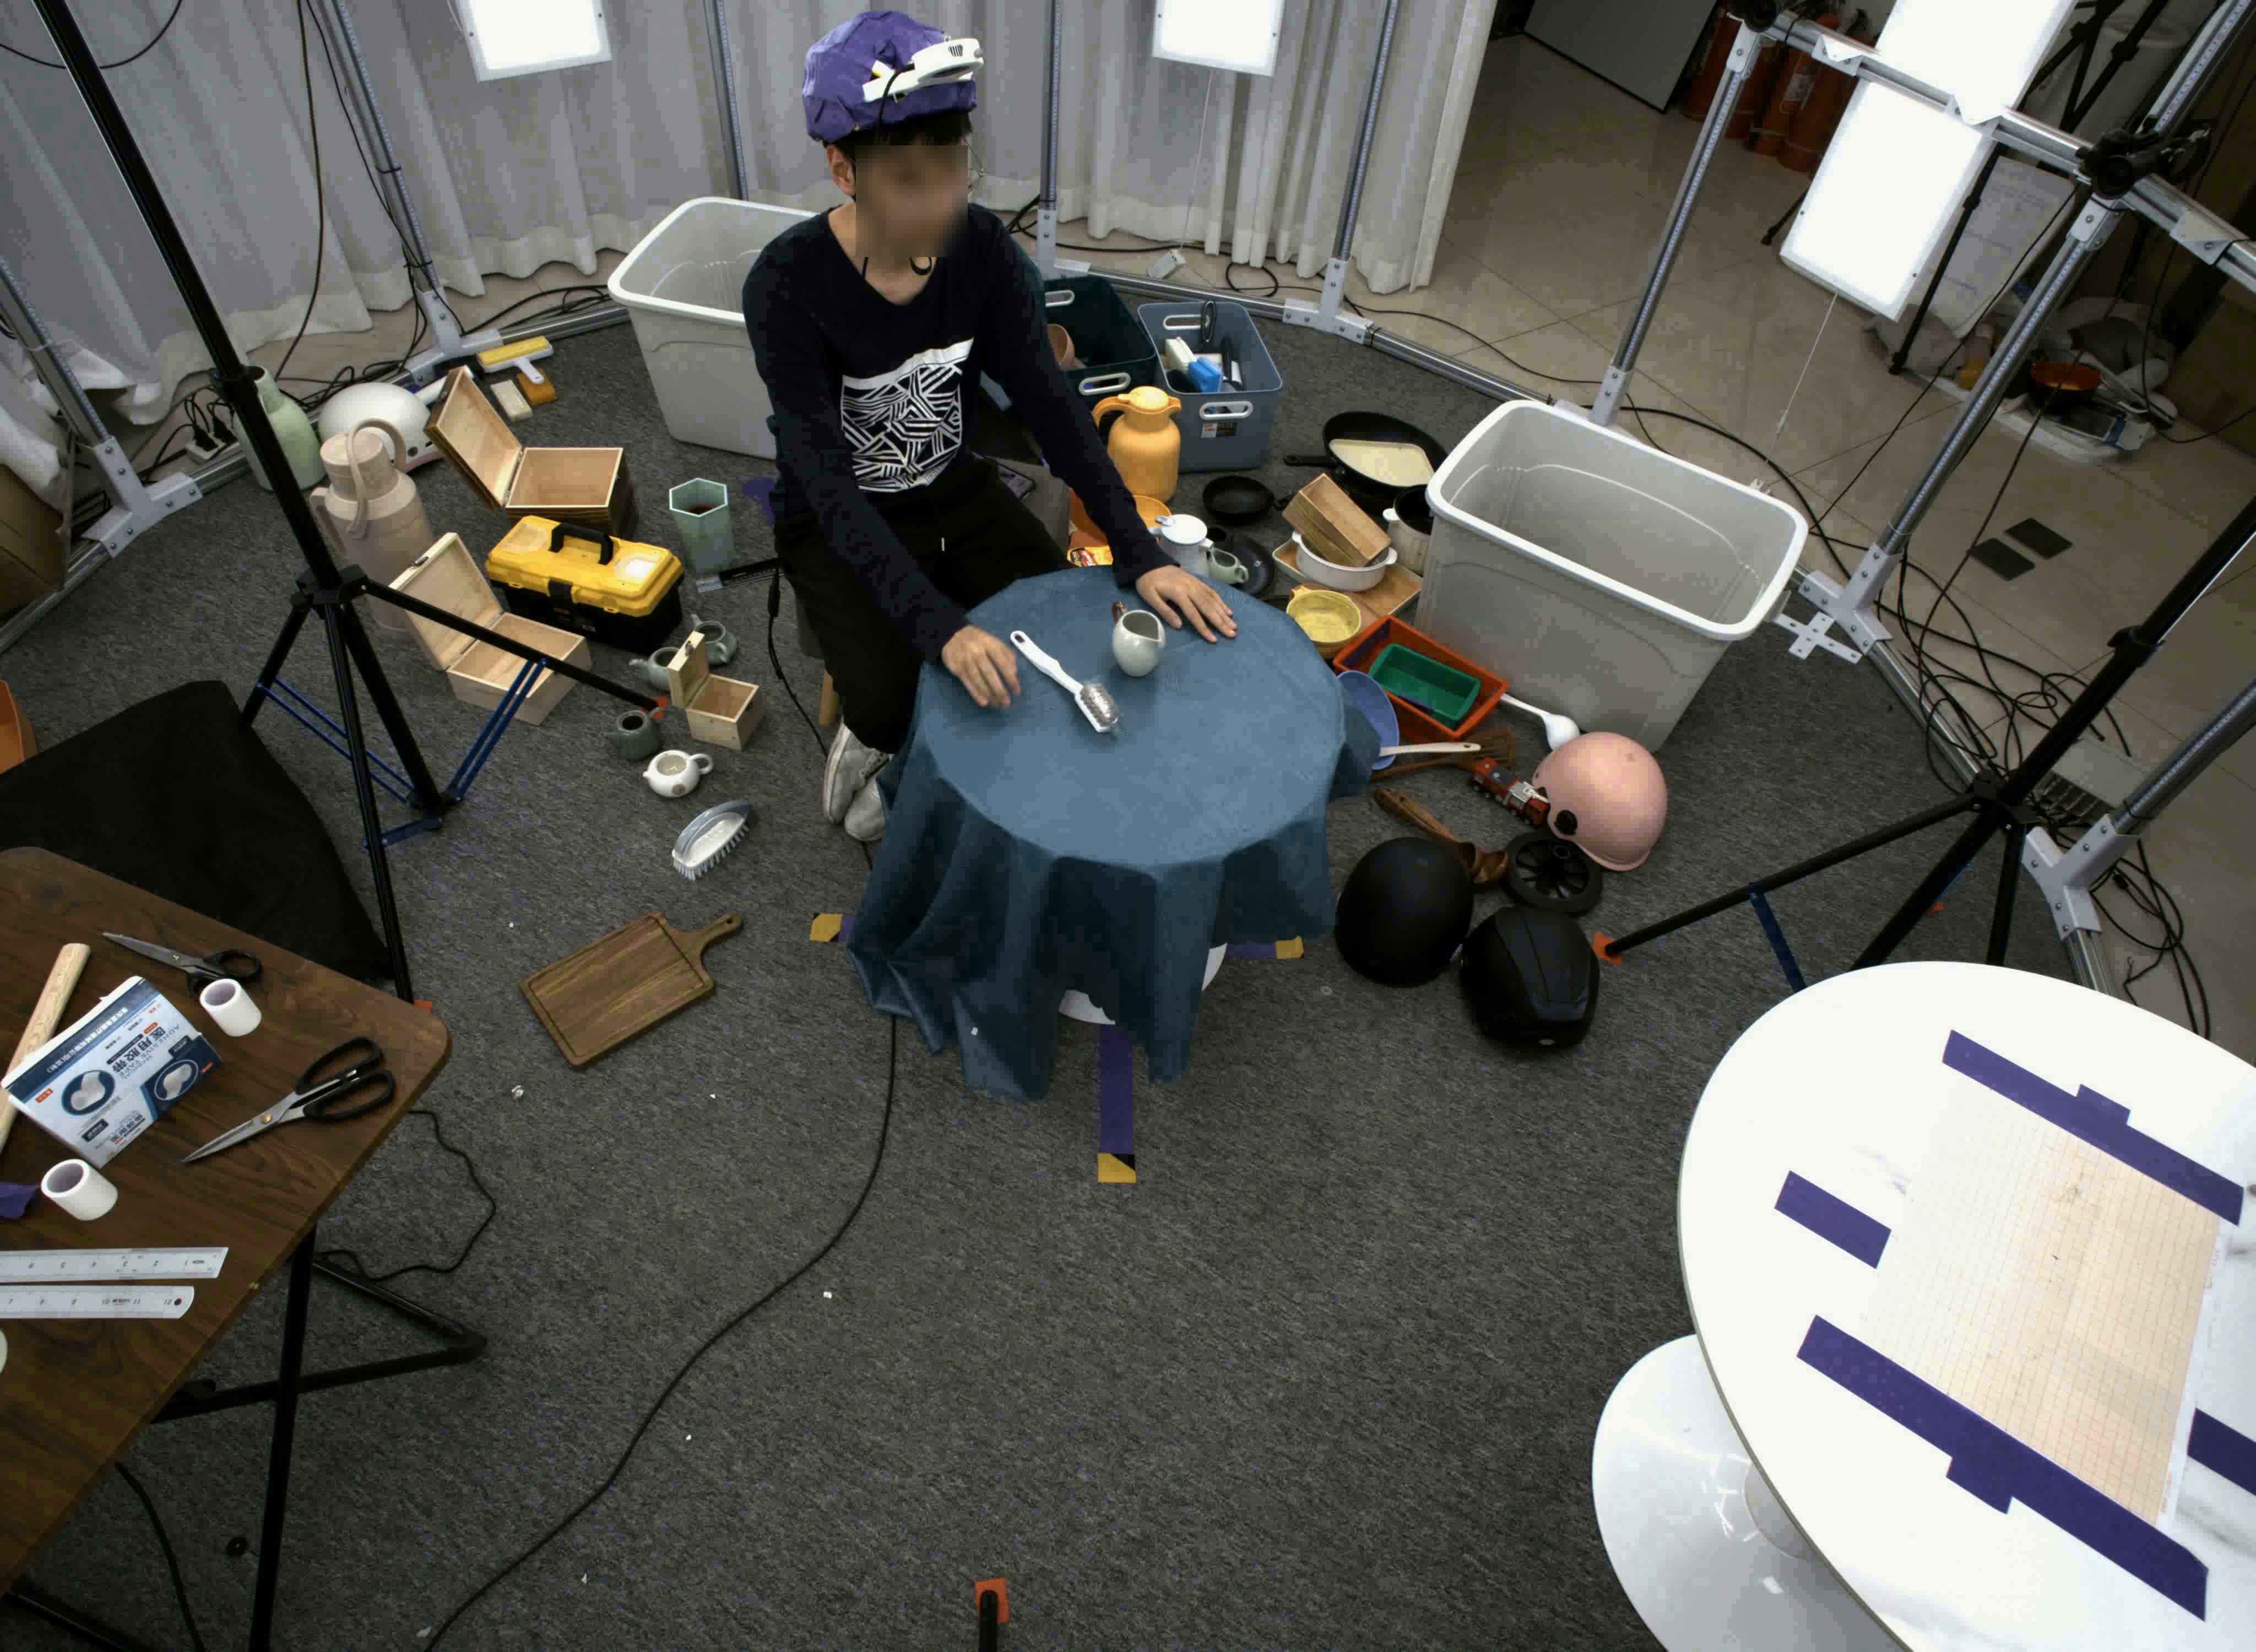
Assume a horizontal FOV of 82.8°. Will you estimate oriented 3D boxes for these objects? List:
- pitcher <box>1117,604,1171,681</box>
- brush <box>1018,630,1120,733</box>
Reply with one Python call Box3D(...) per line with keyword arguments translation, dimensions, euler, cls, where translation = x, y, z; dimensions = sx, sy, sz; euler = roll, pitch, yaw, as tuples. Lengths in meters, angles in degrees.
Box3D(translation=(0.017, -0.260, 1.837), dimensions=(0.076, 0.086, 0.121), euler=(-19, 55, -25), cls="pitcher")
Box3D(translation=(-0.089, -0.219, 1.822), dimensions=(0.034, 0.049, 0.248), euler=(-27, 56, -19), cls="brush")
